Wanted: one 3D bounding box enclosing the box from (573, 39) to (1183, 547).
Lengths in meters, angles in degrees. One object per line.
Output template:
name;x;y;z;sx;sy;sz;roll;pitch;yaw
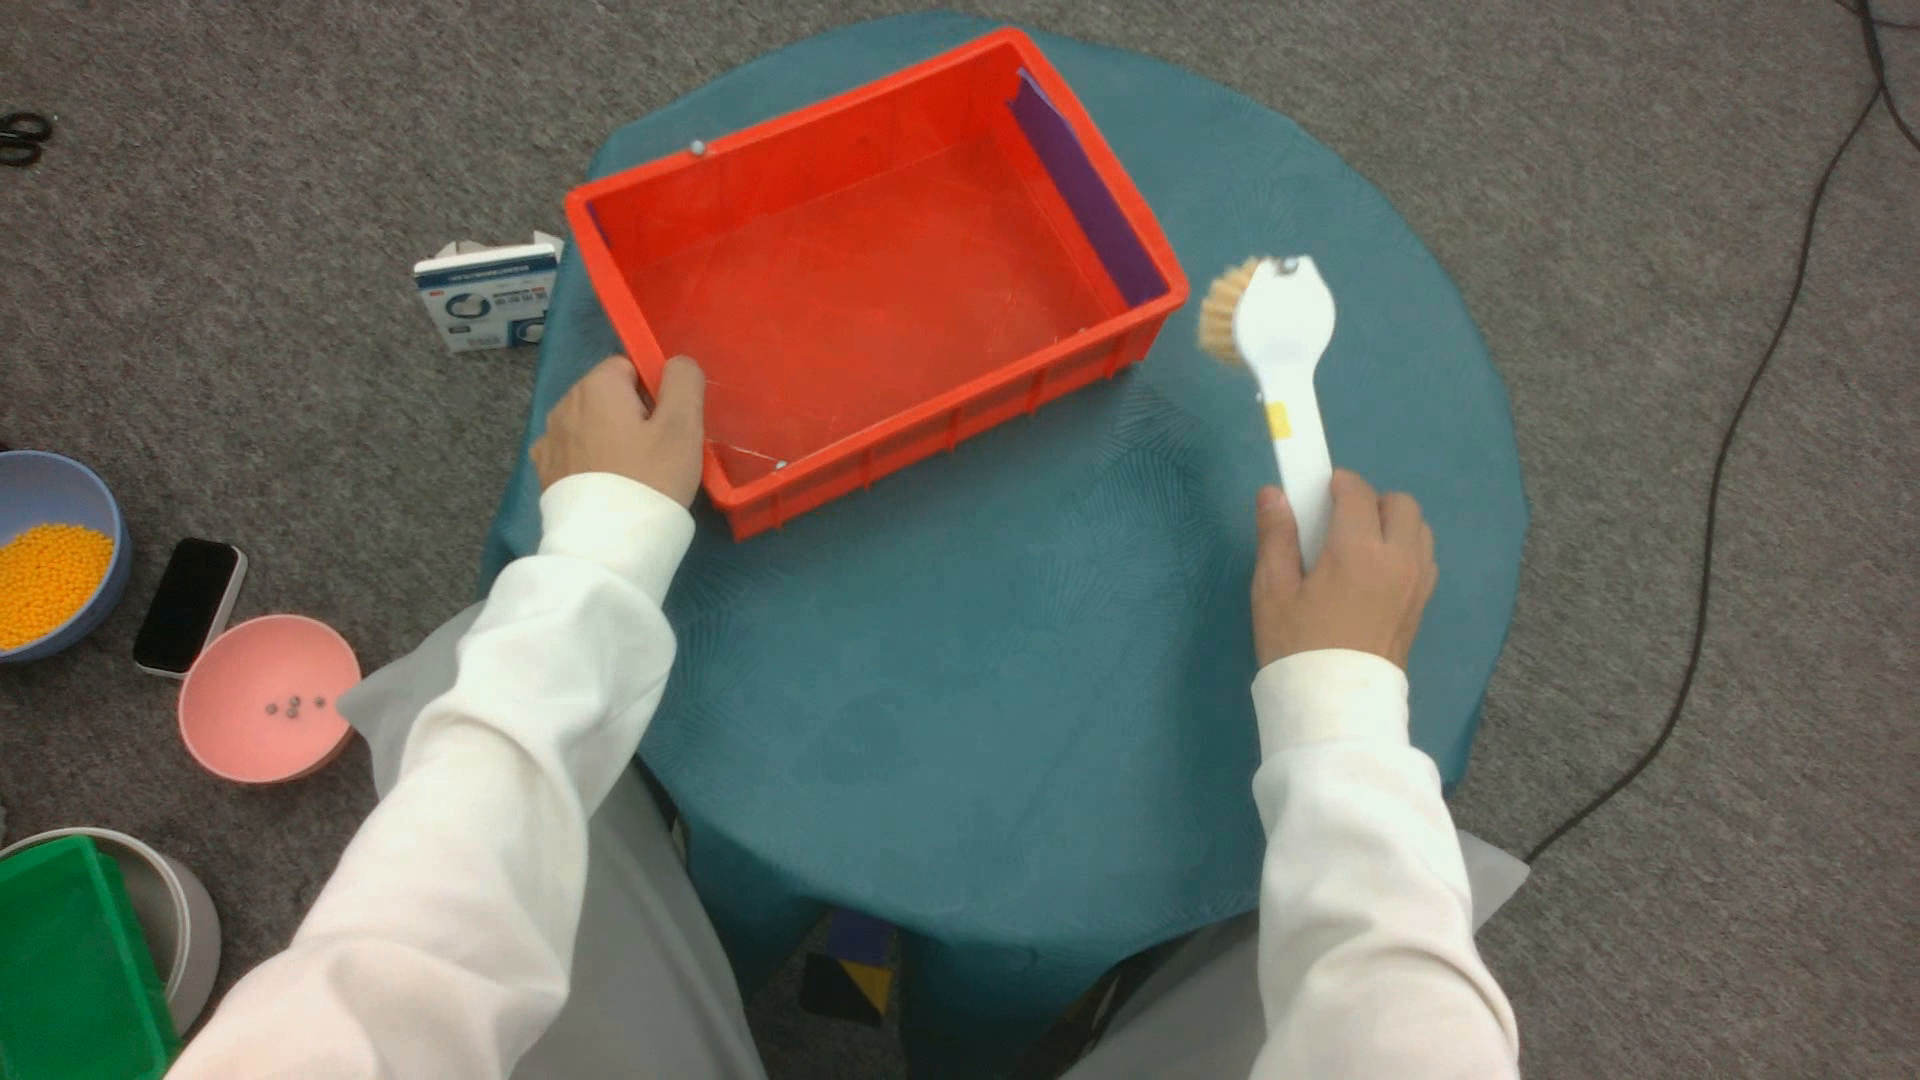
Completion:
box;-0.046;-0.147;0.818;0.304;0.096;0.207;-27;75;-14

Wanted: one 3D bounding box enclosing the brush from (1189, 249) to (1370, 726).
brush;0.185;-0.029;0.771;0.068;0.056;0.266;-12;96;-4
